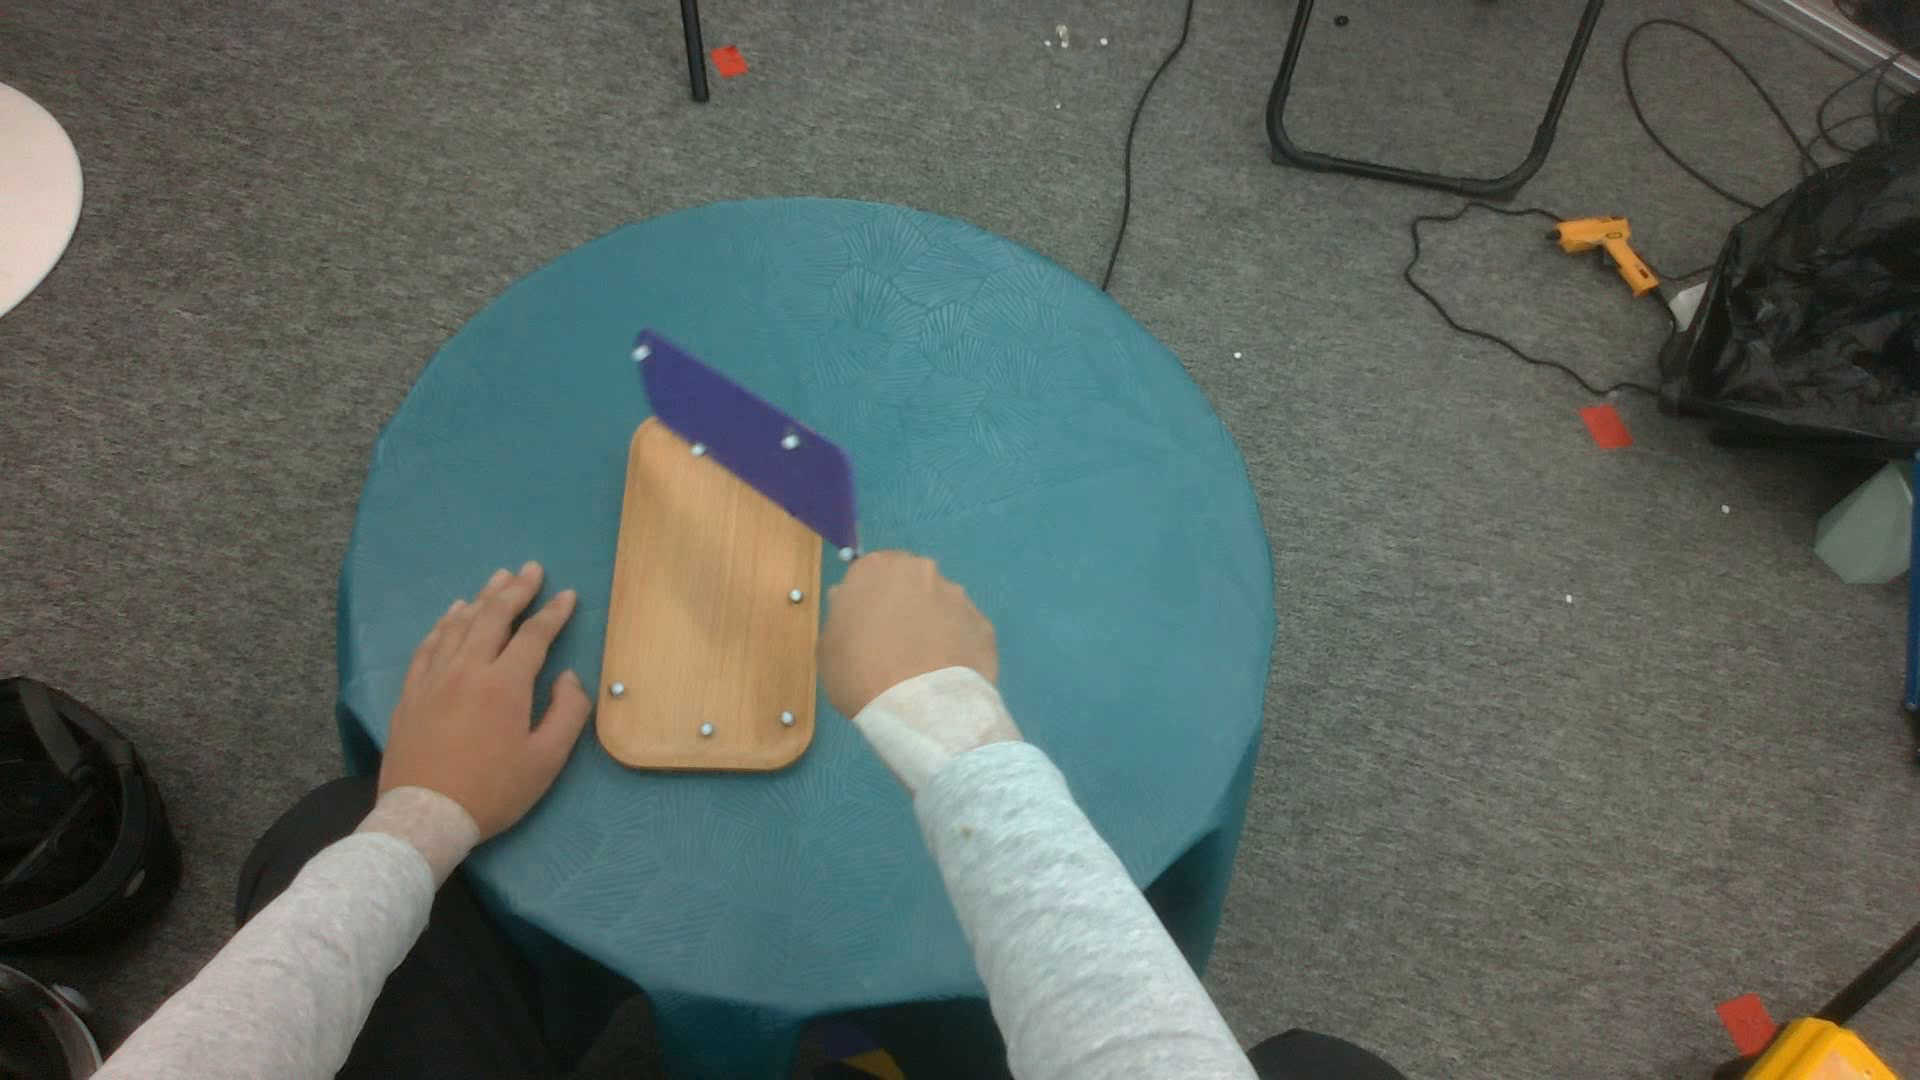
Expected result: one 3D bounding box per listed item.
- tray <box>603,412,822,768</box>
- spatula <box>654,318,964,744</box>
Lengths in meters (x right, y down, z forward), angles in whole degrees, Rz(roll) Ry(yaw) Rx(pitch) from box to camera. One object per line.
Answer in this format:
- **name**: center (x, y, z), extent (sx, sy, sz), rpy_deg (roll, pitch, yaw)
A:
- **tray**: center (-0.154, 0.026, 0.881), extent (0.130, 0.023, 0.251), rpy_deg (3, 59, -10)
- **spatula**: center (-0.097, -0.014, 0.772), extent (0.087, 0.075, 0.360), rpy_deg (-10, 41, -17)
